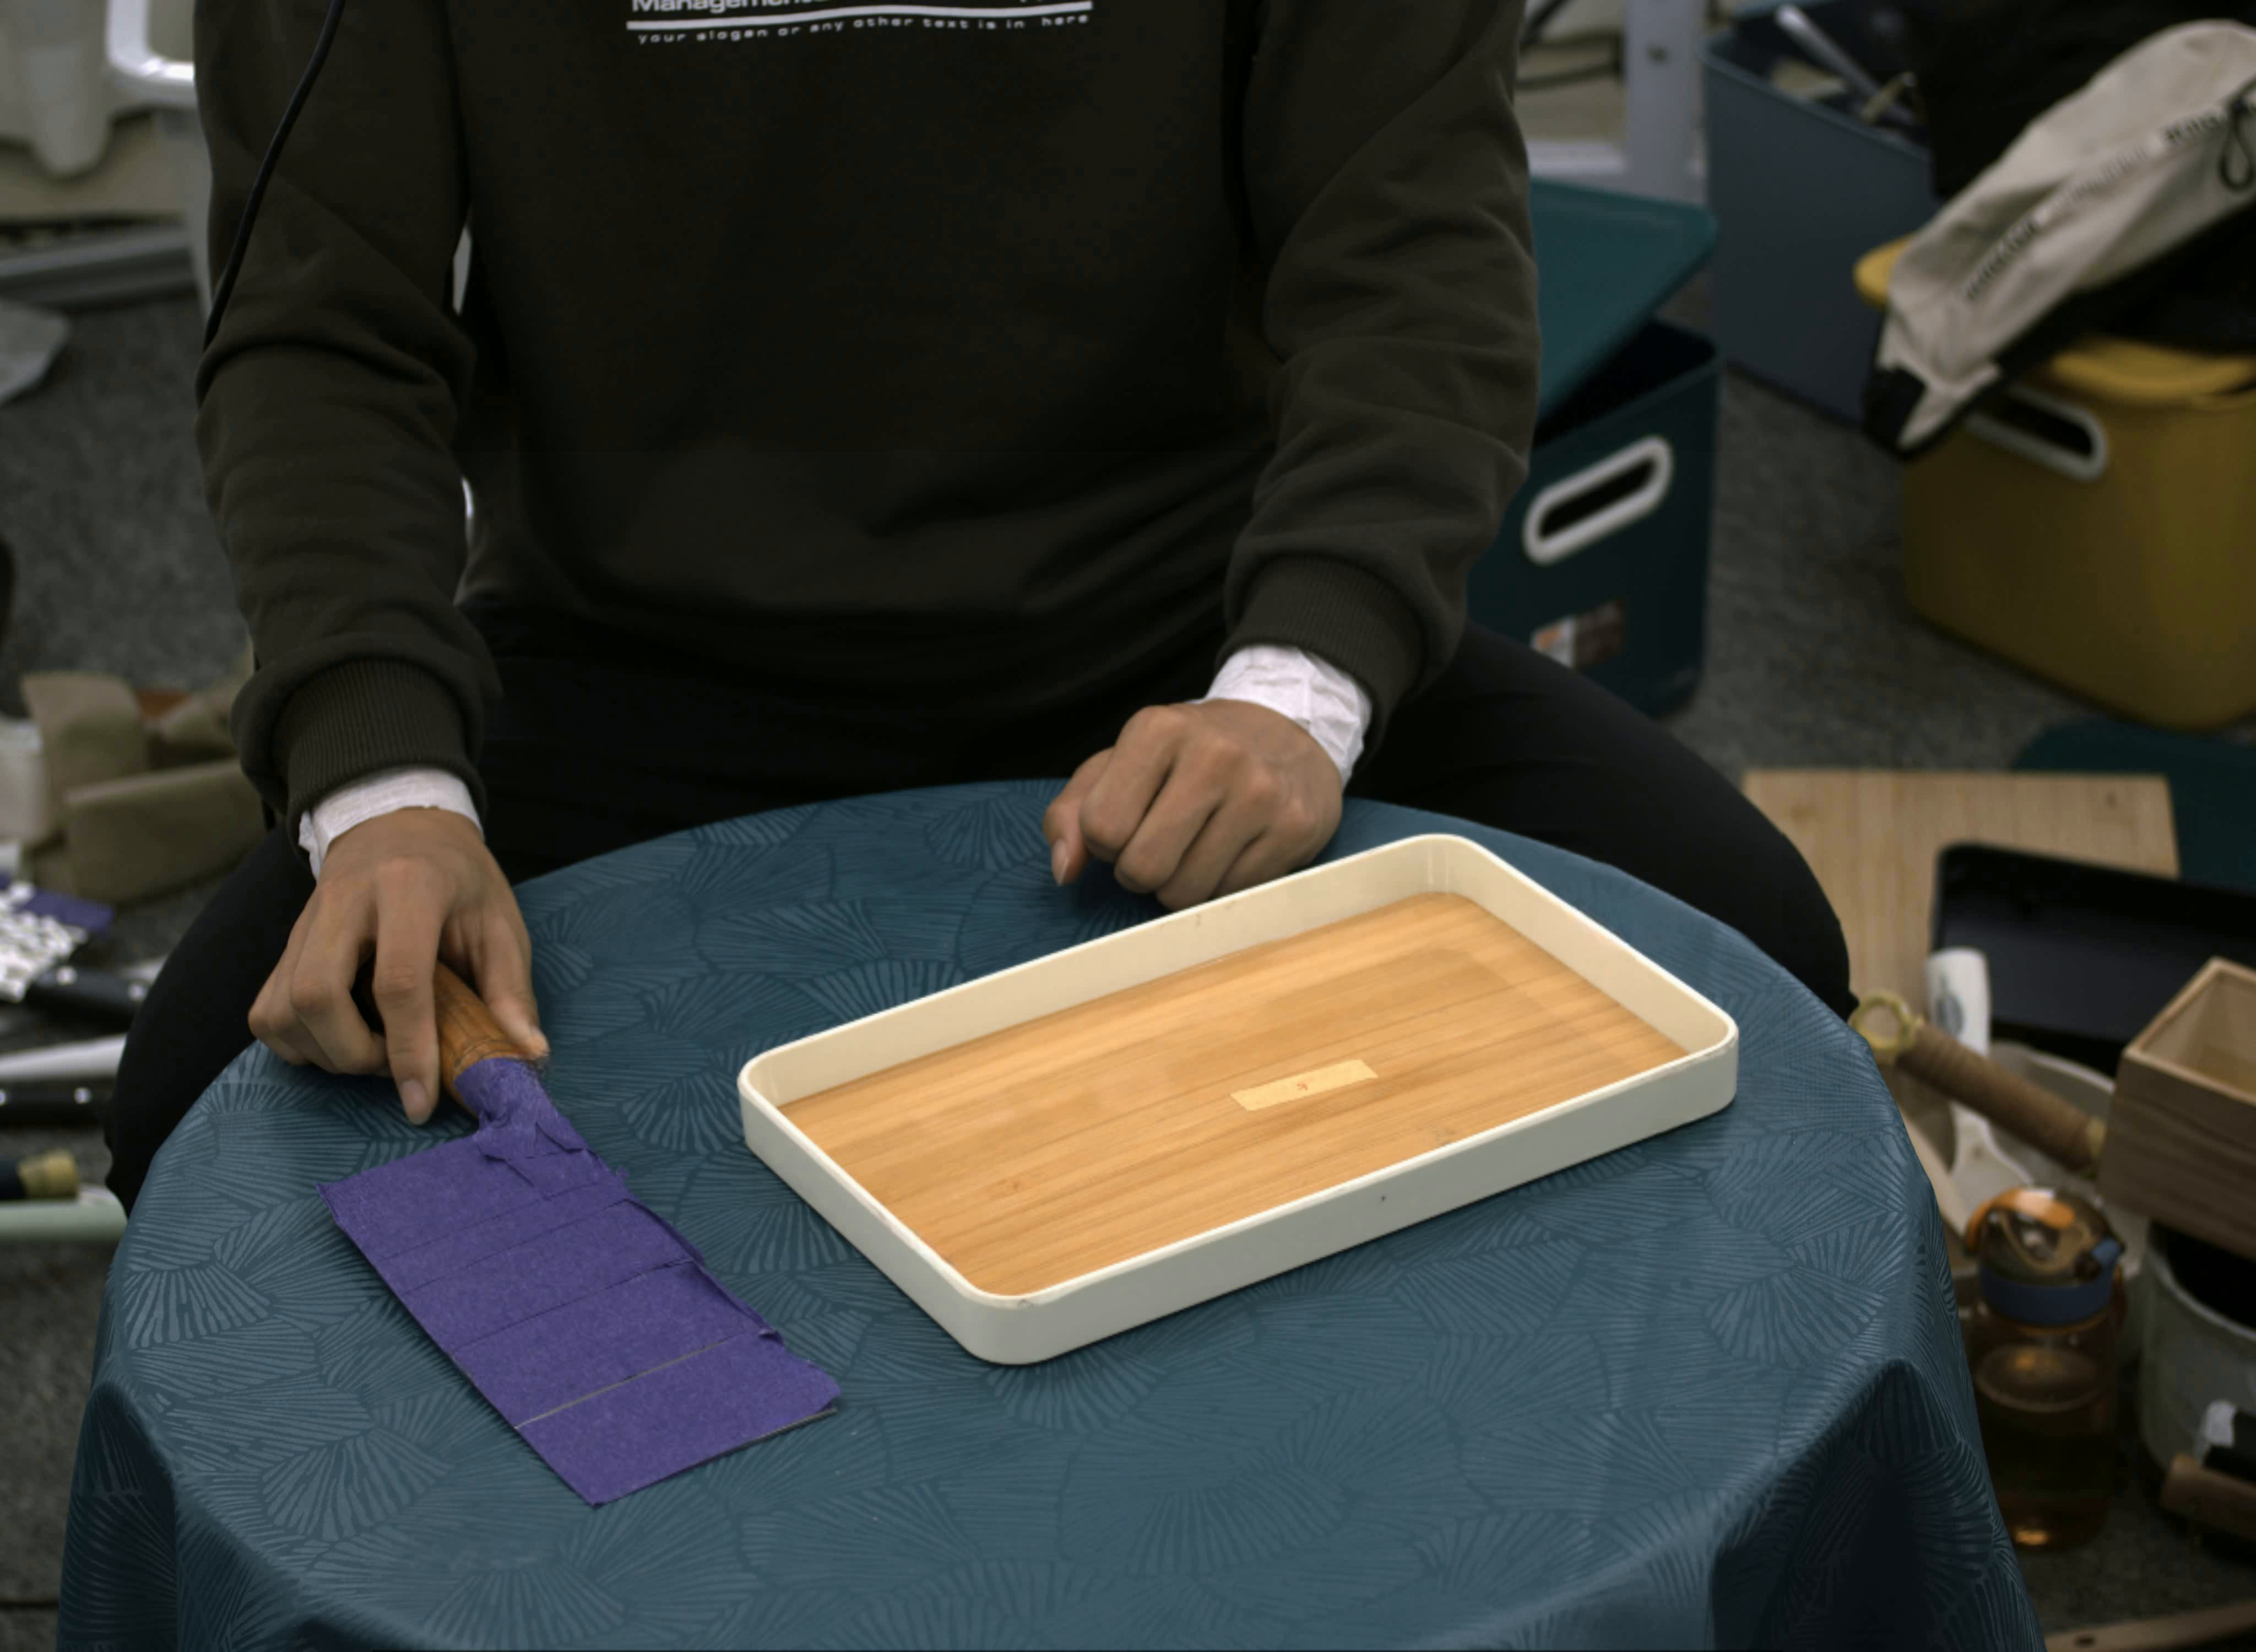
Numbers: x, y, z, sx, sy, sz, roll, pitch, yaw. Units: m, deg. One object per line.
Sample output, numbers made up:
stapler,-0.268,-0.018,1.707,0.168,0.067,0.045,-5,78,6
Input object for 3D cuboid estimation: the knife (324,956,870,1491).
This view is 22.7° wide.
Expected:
knife,-0.205,0.126,1.842,0.104,0.032,0.316,-18,31,-27

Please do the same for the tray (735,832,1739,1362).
tray,0.037,0.086,1.897,0.302,0.027,0.192,-18,31,-26
